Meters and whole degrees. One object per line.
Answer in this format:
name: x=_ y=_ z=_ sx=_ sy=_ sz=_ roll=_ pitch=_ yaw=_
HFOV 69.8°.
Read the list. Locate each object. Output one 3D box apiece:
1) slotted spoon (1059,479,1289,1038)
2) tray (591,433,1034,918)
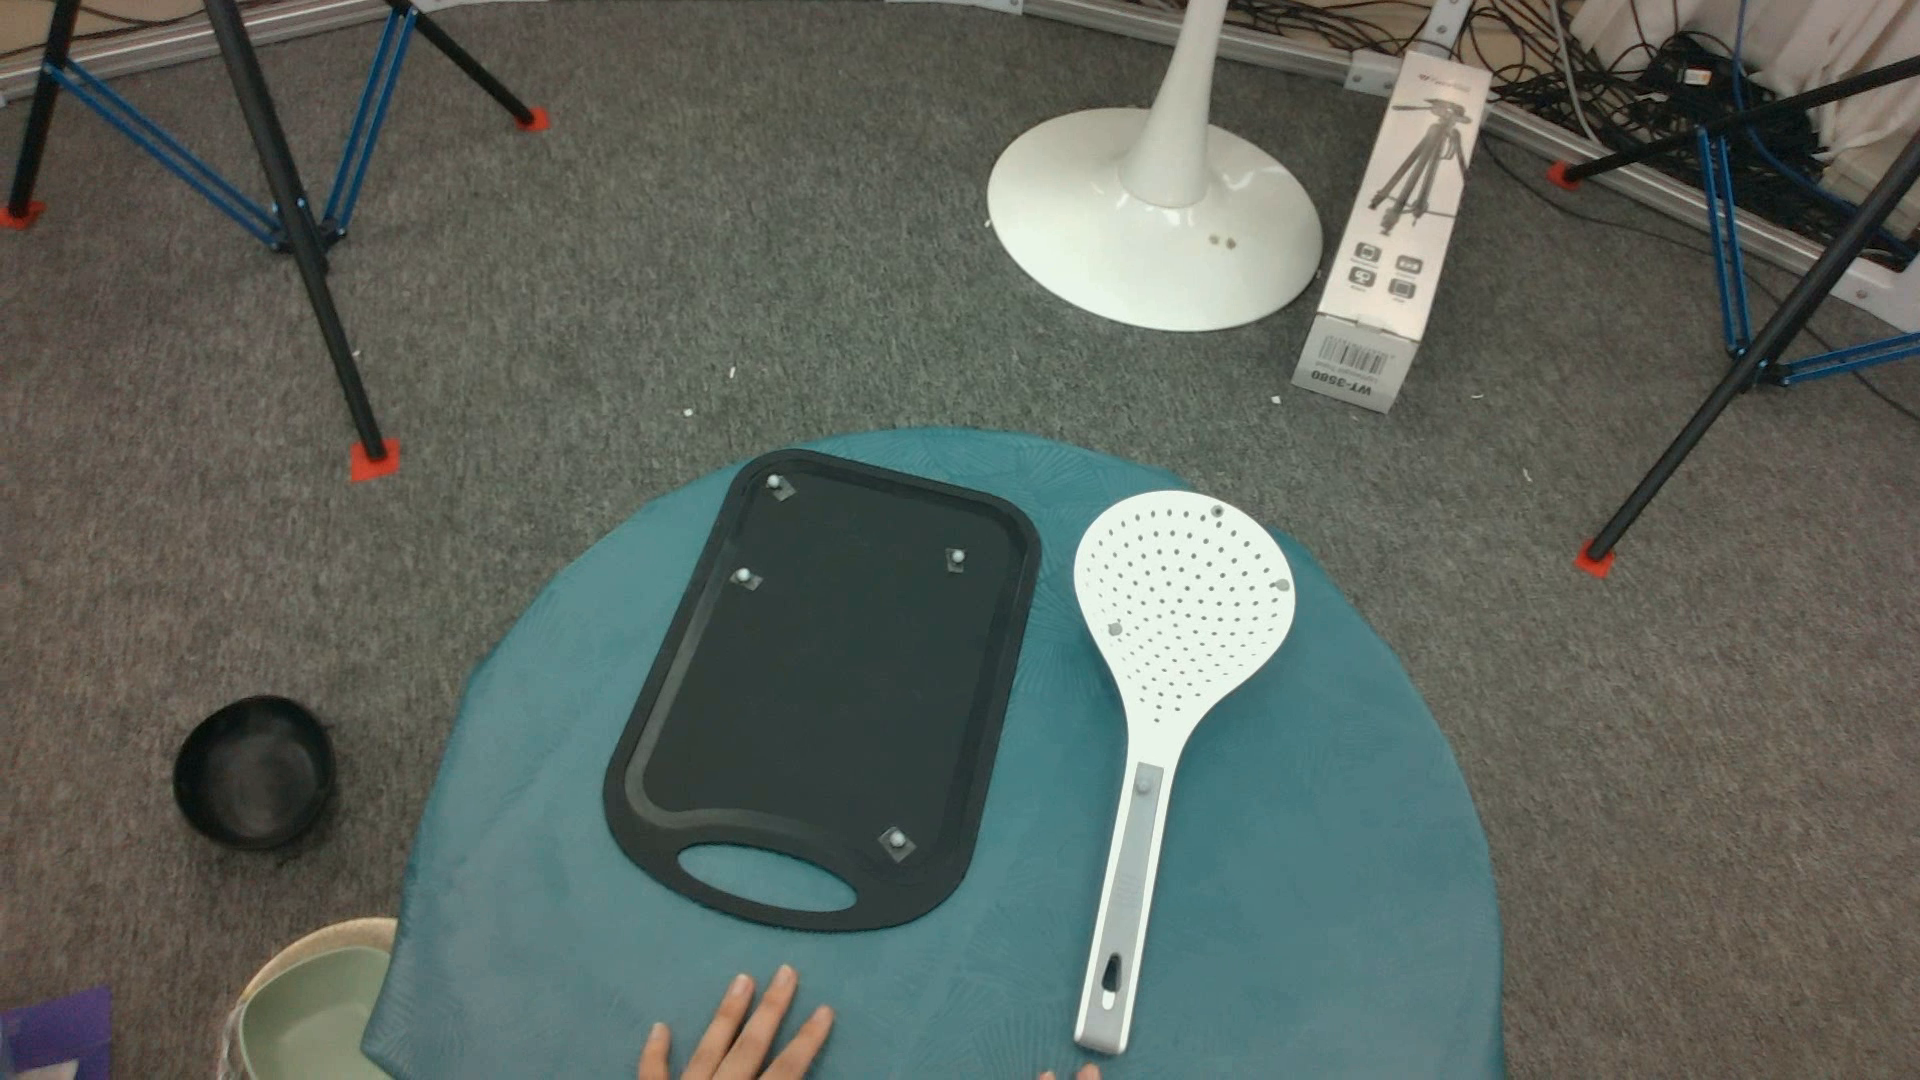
slotted spoon: x=0.108 y=0.110 z=0.795 sx=0.136 sy=0.045 sz=0.351 roll=14 pitch=53 yaw=5
tray: x=-0.080 y=0.068 z=0.823 sx=0.211 sy=0.010 sz=0.327 roll=14 pitch=53 yaw=3
